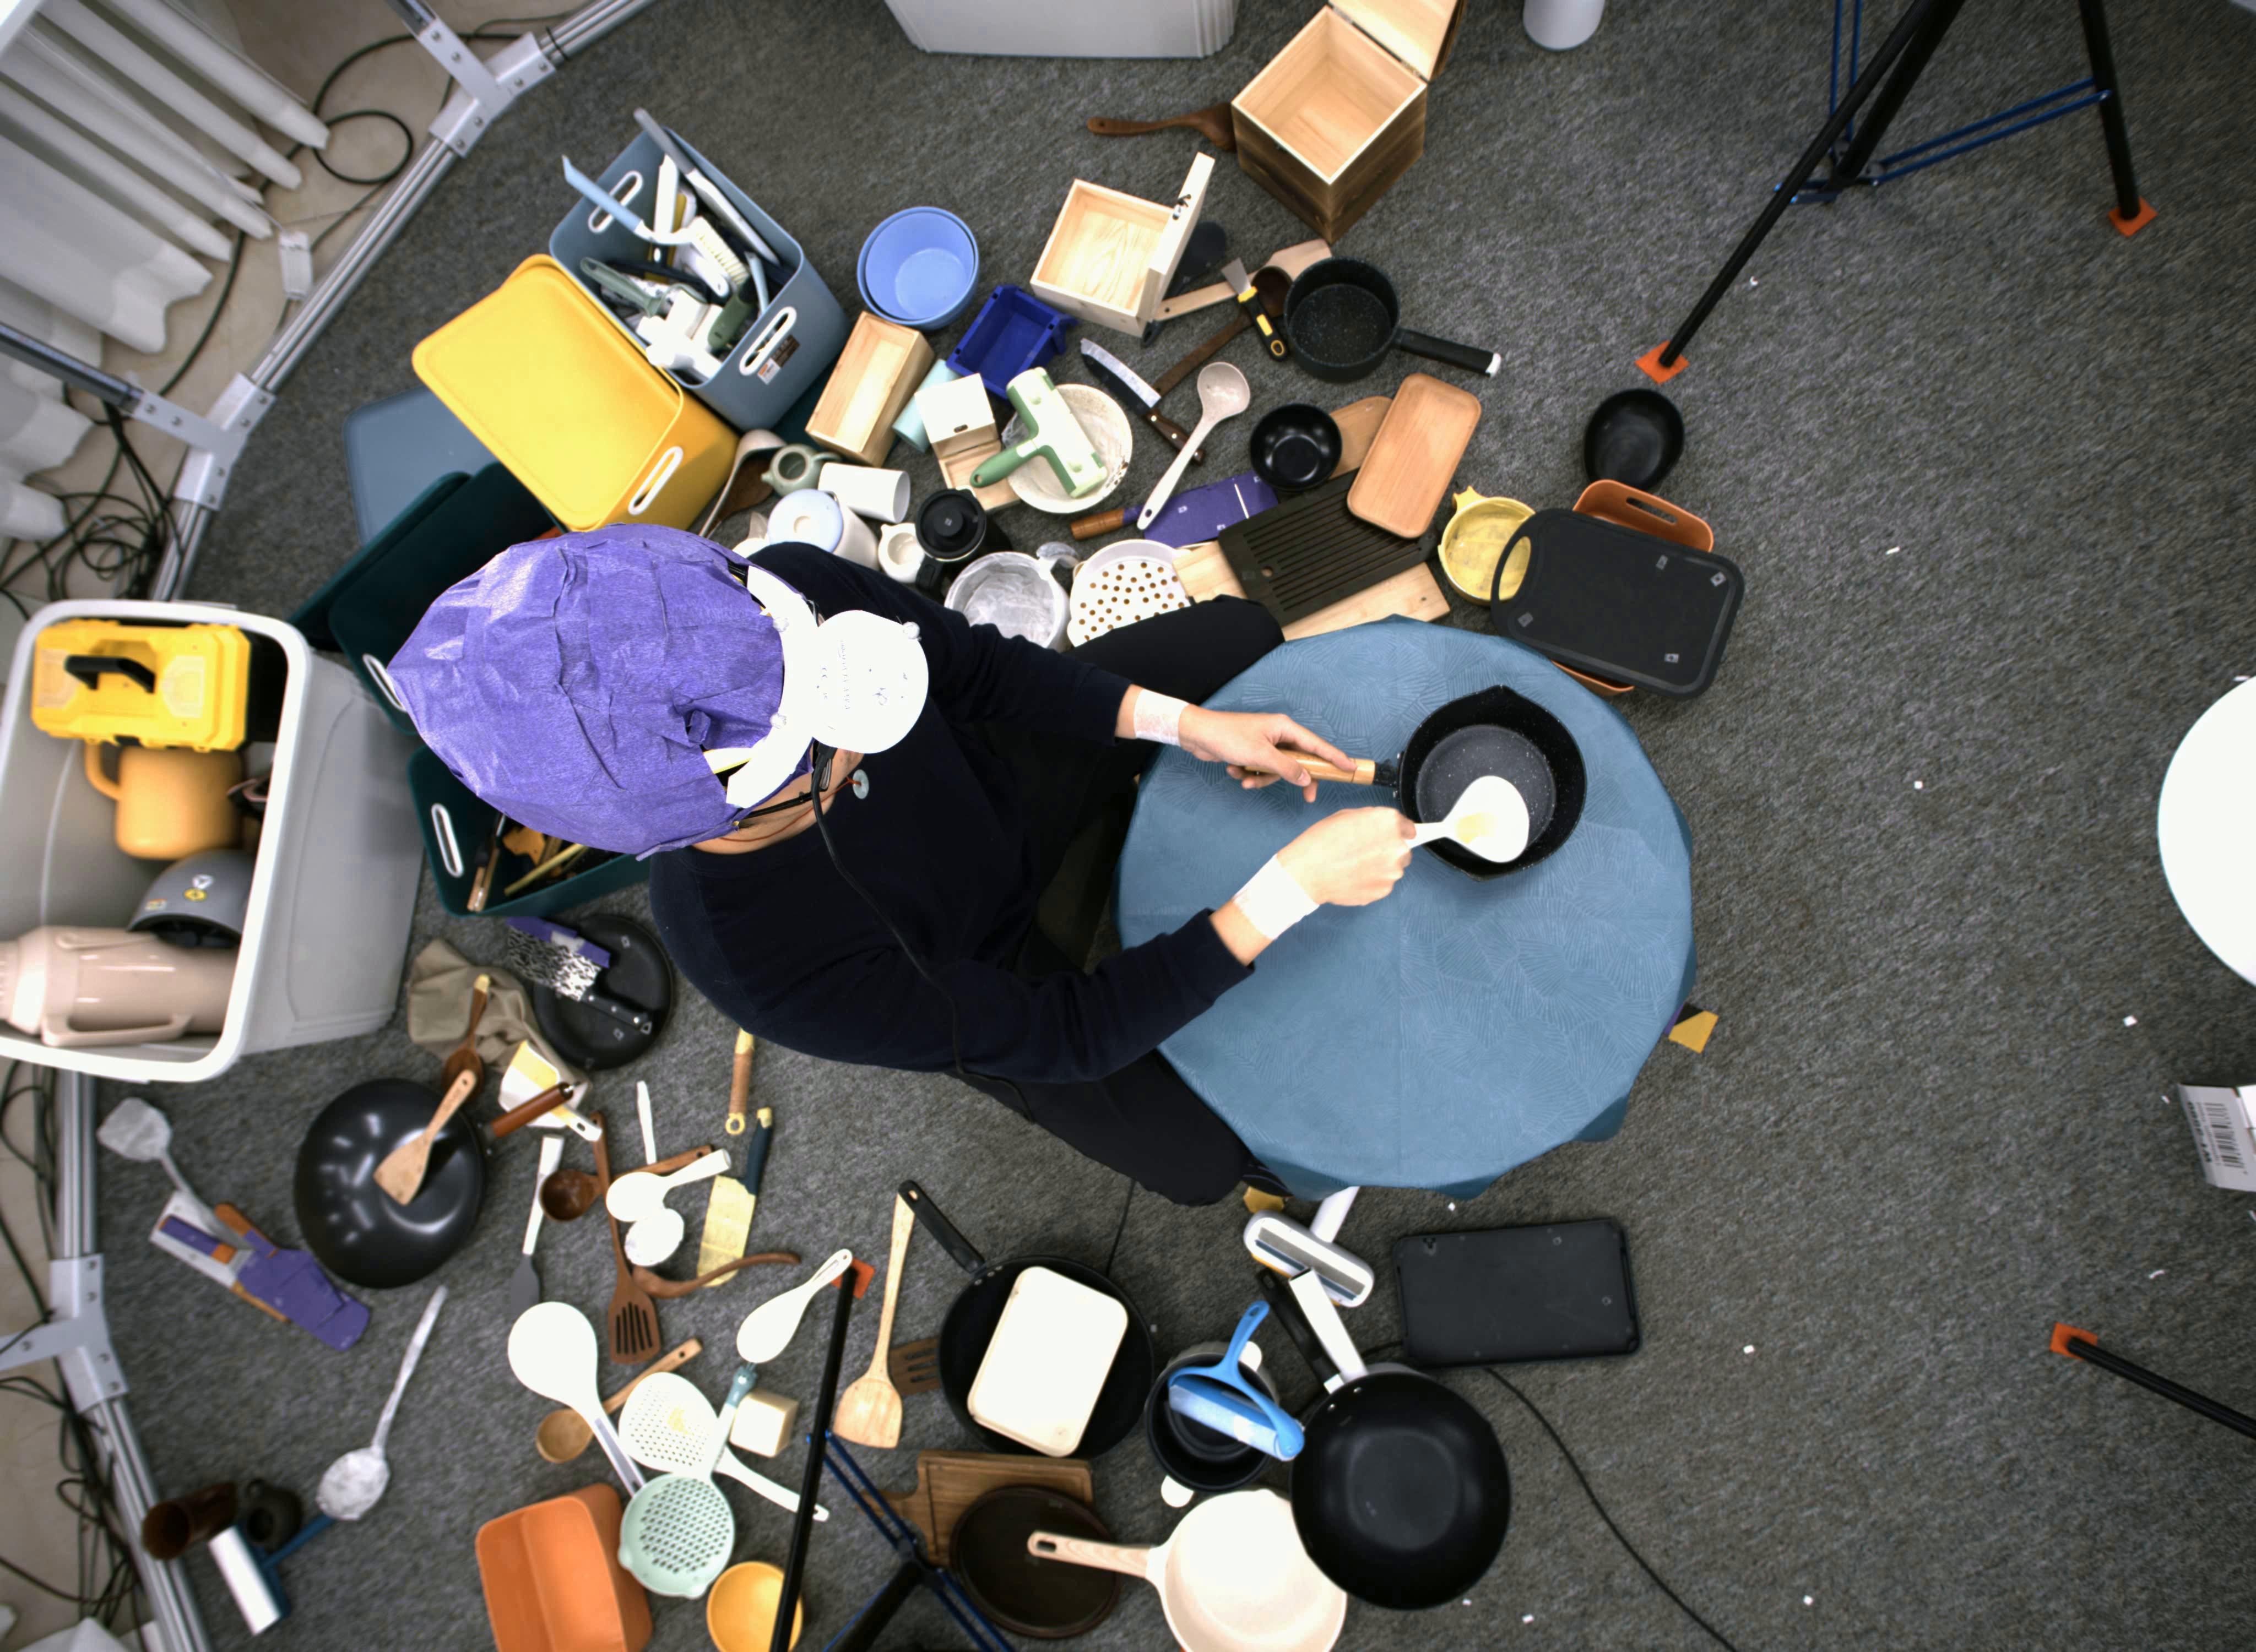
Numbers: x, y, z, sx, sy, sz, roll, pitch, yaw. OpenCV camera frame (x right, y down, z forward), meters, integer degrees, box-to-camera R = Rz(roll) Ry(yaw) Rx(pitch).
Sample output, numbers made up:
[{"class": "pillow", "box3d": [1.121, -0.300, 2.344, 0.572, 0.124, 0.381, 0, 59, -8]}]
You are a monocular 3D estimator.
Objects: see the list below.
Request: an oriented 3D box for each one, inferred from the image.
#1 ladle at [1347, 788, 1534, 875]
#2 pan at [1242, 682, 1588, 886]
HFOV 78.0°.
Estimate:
[{"class": "ladle", "box3d": [0.308, 0.010, 1.326, 0.070, 0.290, 0.090, -4, 91, 37]}, {"class": "pan", "box3d": [0.289, -0.048, 1.408, 0.344, 0.108, 0.207, 5, 88, 9]}]
